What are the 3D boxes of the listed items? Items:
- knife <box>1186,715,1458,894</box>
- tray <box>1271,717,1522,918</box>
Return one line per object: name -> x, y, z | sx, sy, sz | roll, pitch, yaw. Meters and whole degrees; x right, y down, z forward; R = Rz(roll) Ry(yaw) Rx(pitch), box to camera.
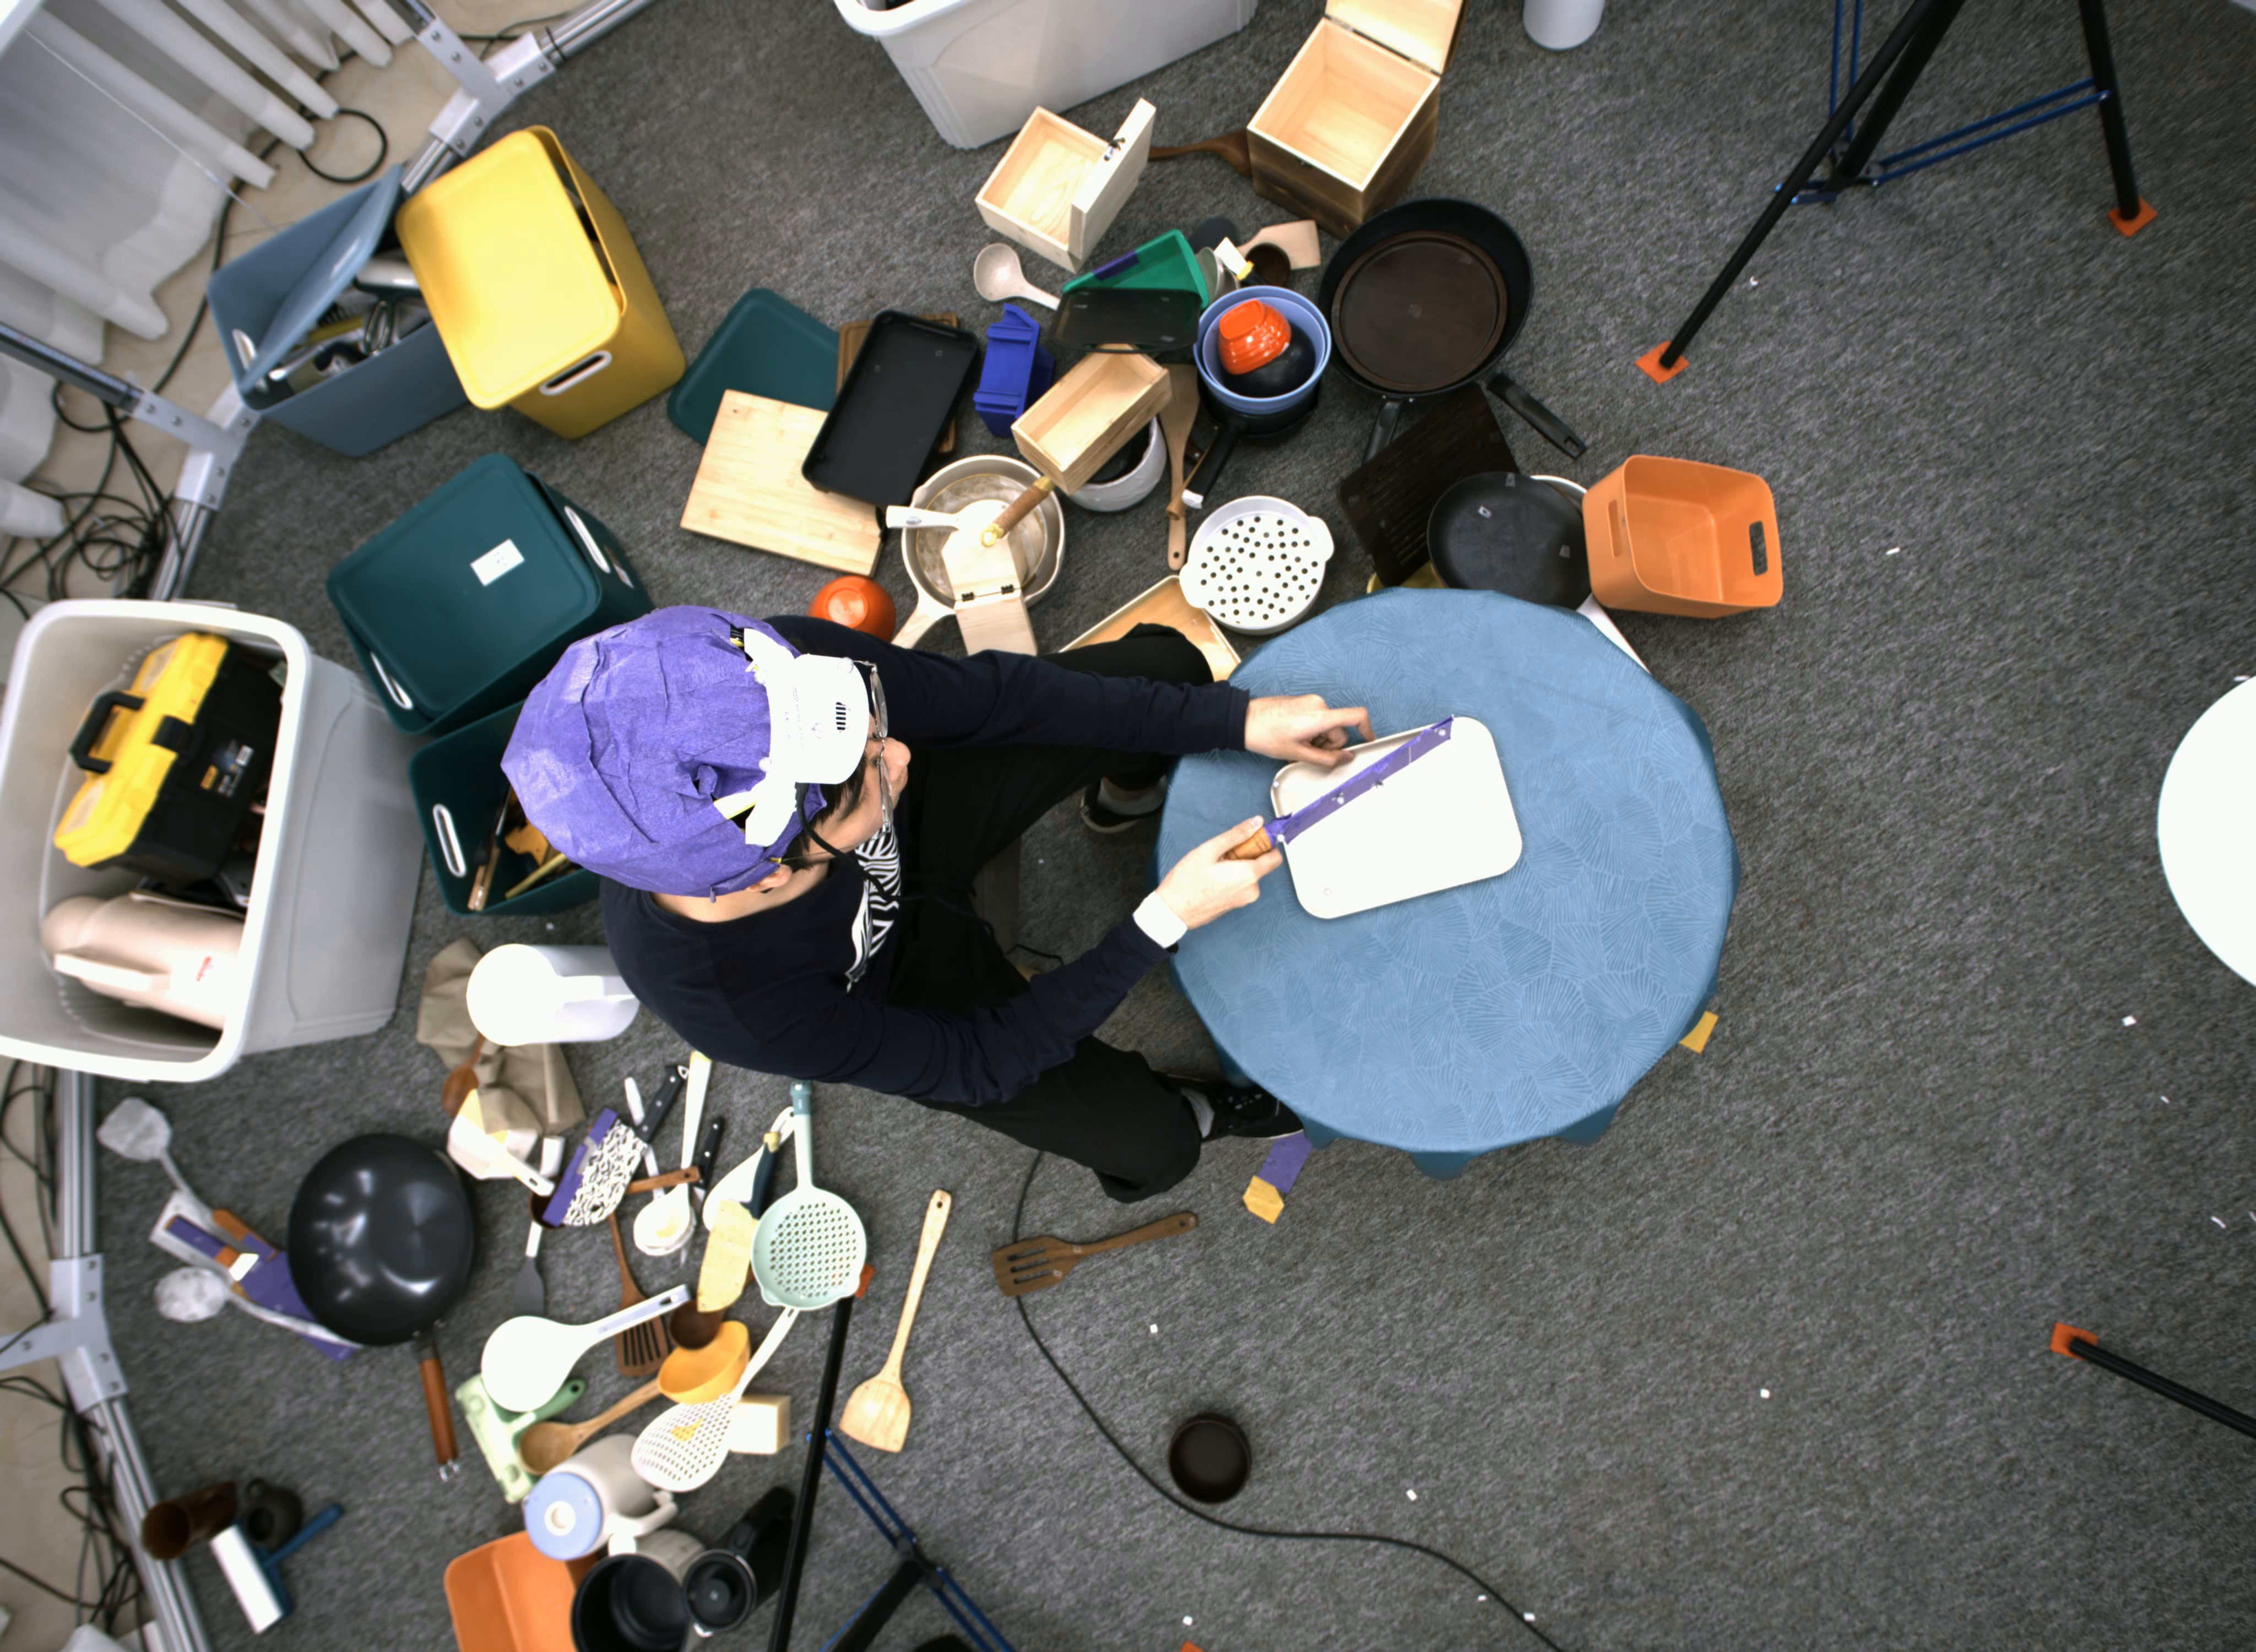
knife -> 0.204, -0.017, 1.417 | 0.316, 0.104, 0.032 | -31, 73, 5
tray -> 0.281, -0.010, 1.452 | 0.241, 0.017, 0.170 | -15, 87, 9
